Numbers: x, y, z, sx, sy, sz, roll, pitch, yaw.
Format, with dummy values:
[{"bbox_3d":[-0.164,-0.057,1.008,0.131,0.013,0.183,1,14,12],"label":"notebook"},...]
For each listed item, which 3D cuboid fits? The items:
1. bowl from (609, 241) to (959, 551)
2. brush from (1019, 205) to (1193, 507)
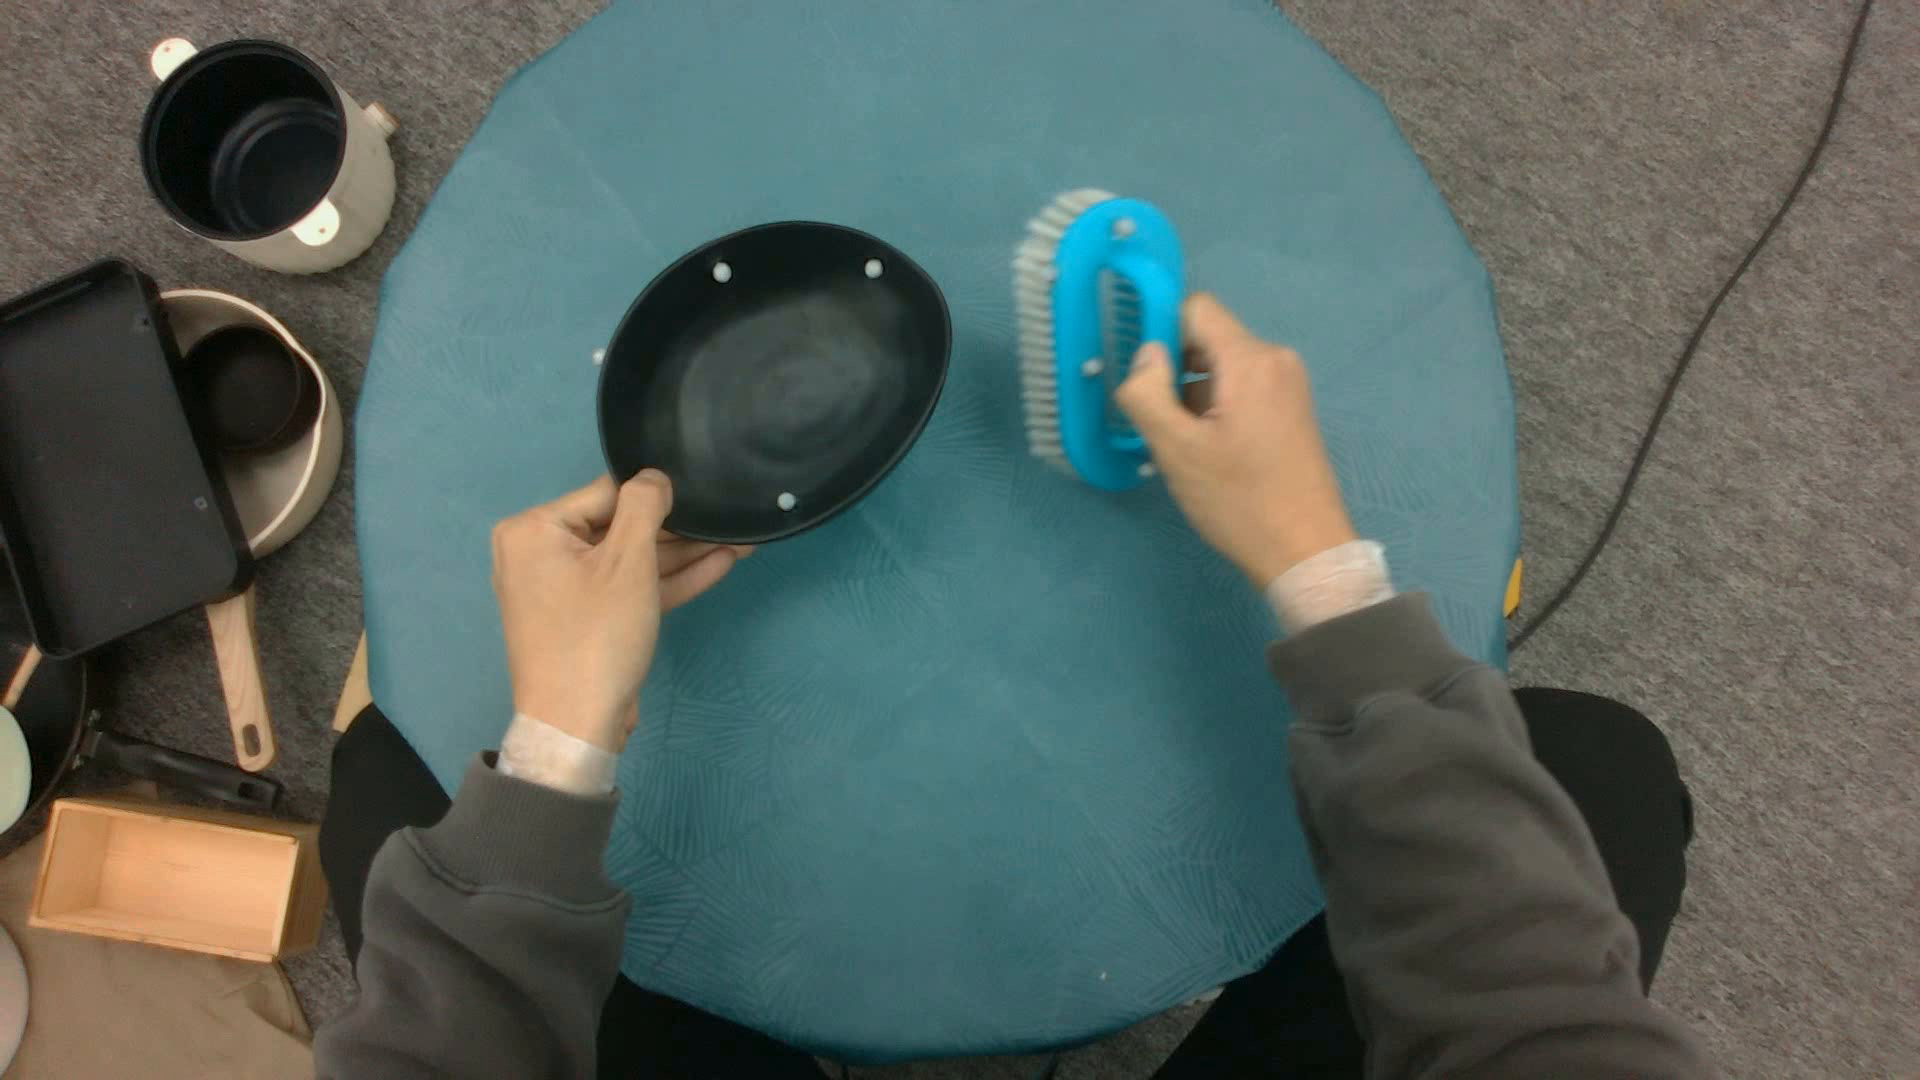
[{"bbox_3d":[-0.080,-0.066,0.655,0.170,0.066,0.137,-35,81,-2],"label":"bowl"},{"bbox_3d":[0.078,-0.082,0.642,0.084,0.064,0.141,-14,114,-33],"label":"brush"}]
